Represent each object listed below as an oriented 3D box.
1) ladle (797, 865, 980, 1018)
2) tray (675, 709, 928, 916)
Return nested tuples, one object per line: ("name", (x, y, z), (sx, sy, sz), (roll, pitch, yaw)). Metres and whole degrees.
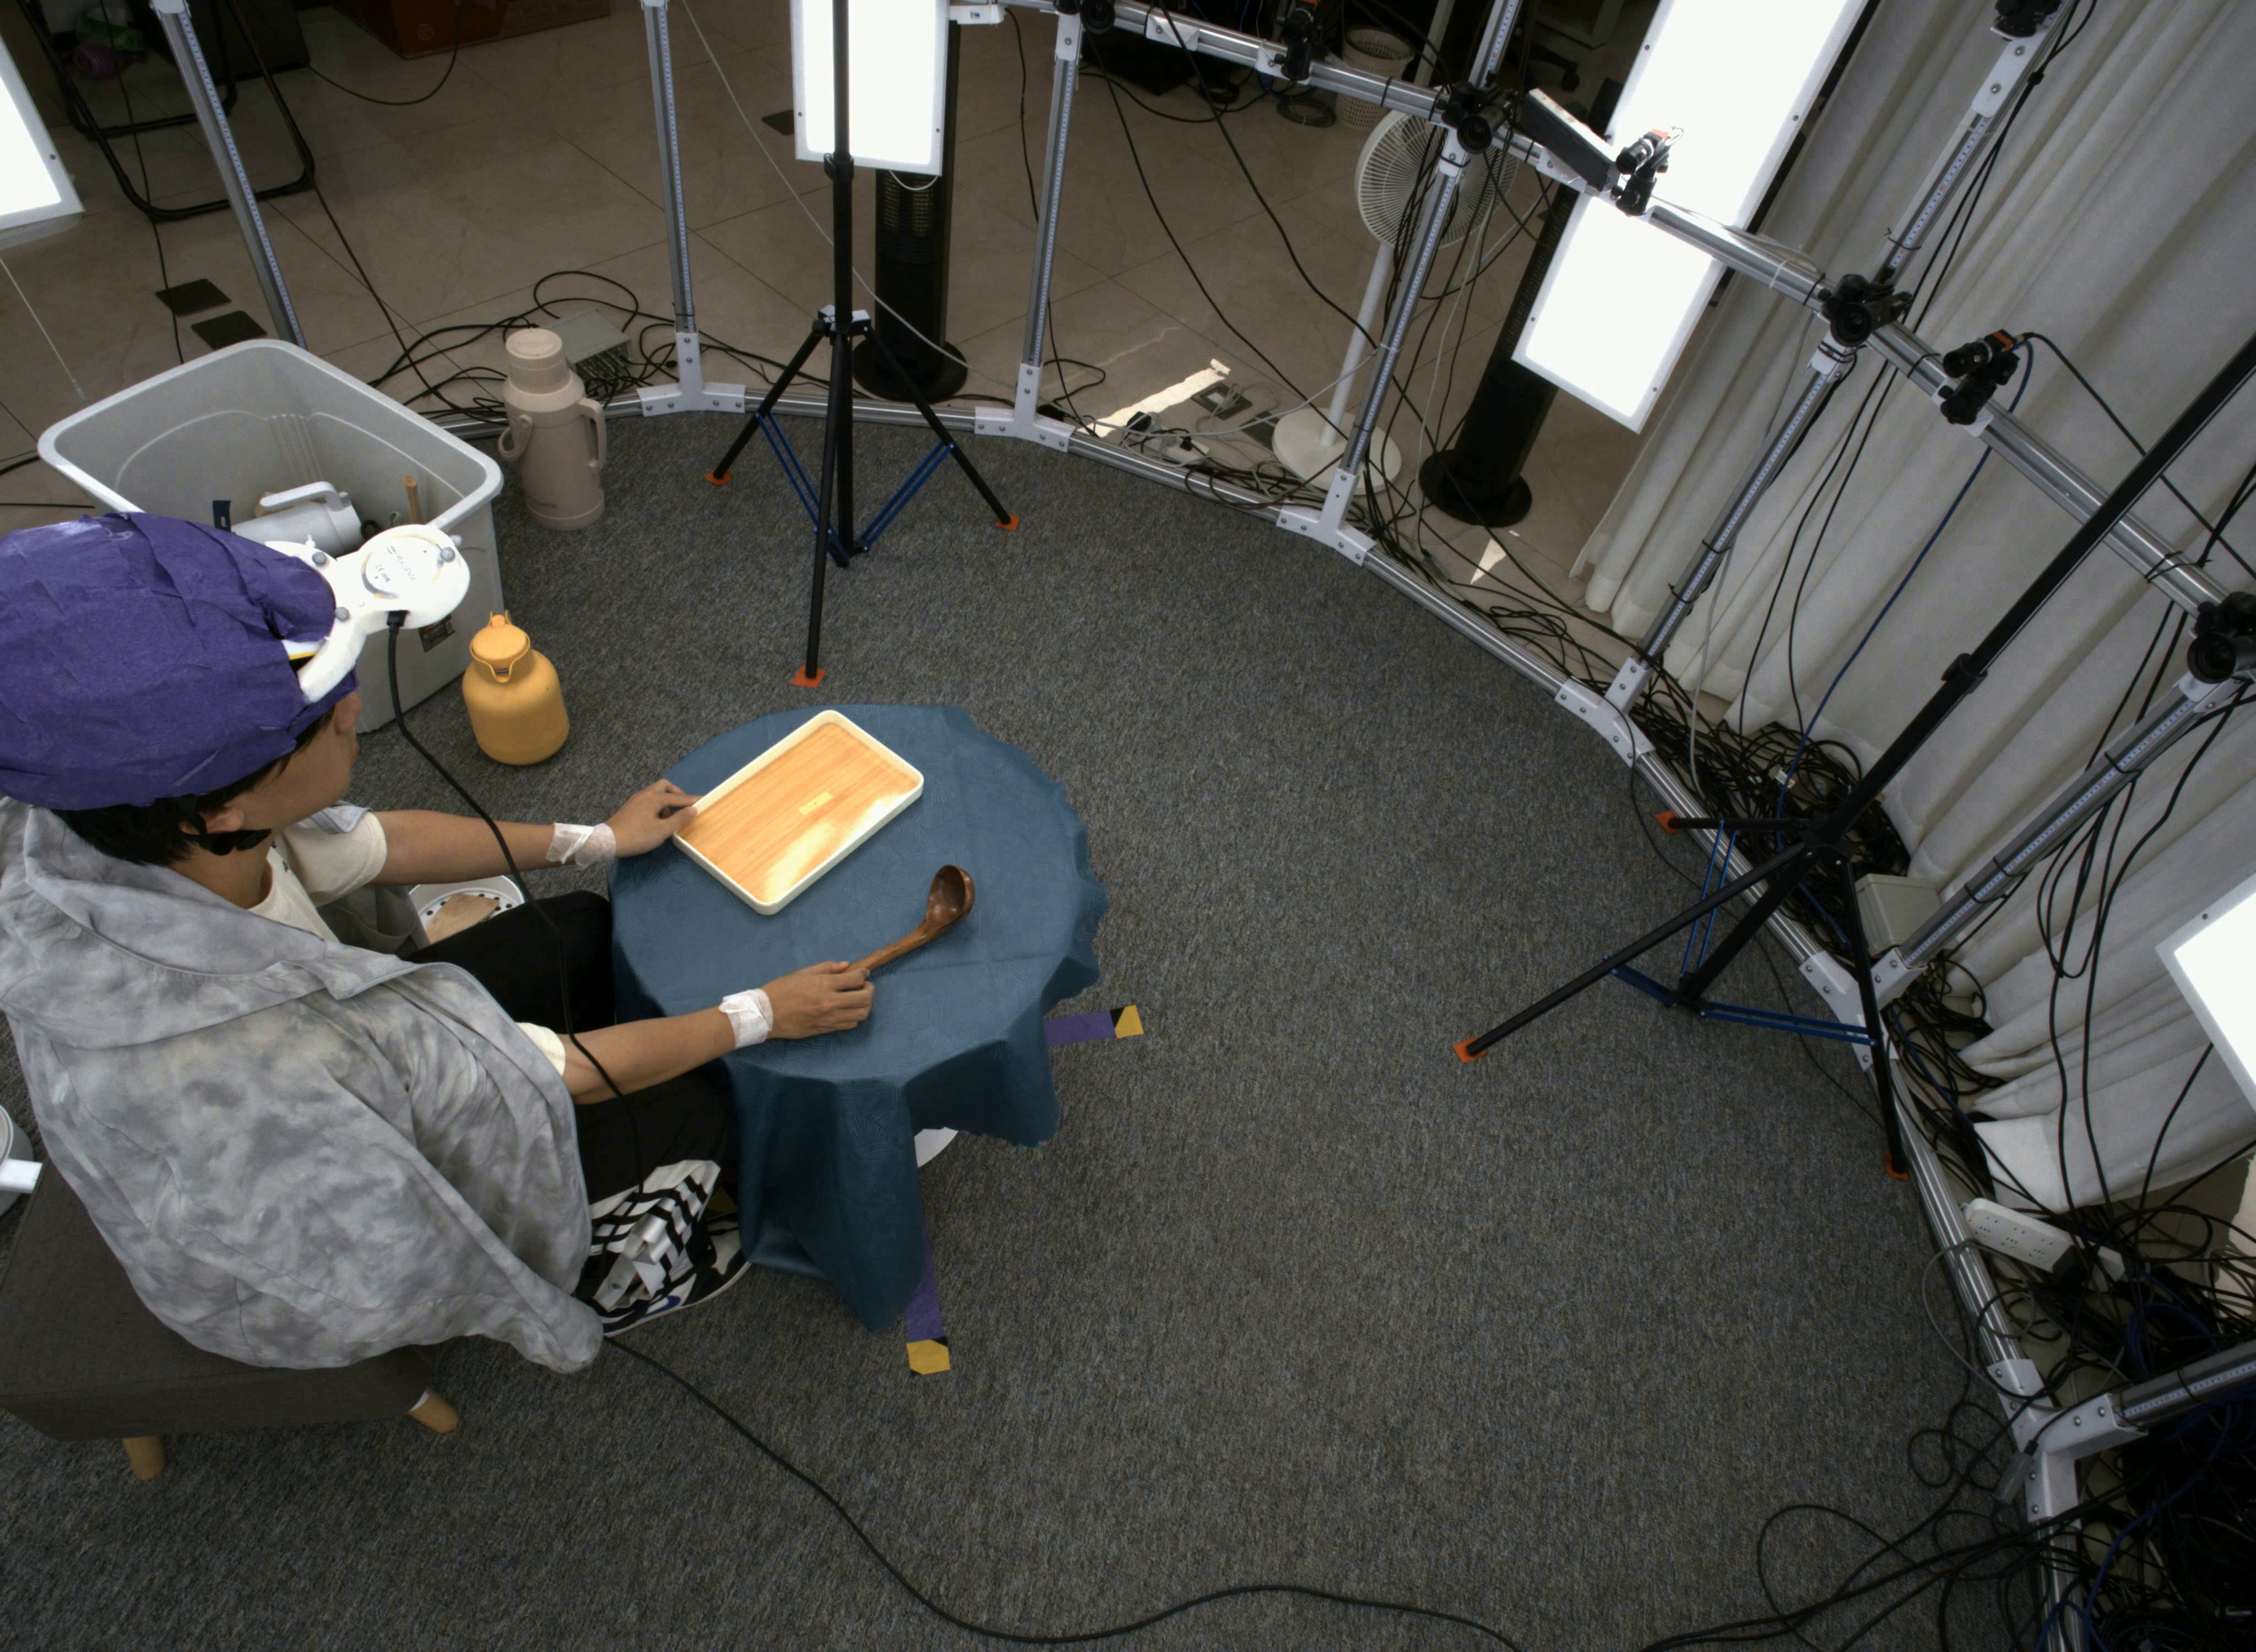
("ladle", (-0.298, 0.135, 1.608), (0.275, 0.079, 0.079), (-30, 26, -30))
("tray", (-0.430, -0.025, 1.726), (0.188, 0.028, 0.300), (37, 54, 14))
